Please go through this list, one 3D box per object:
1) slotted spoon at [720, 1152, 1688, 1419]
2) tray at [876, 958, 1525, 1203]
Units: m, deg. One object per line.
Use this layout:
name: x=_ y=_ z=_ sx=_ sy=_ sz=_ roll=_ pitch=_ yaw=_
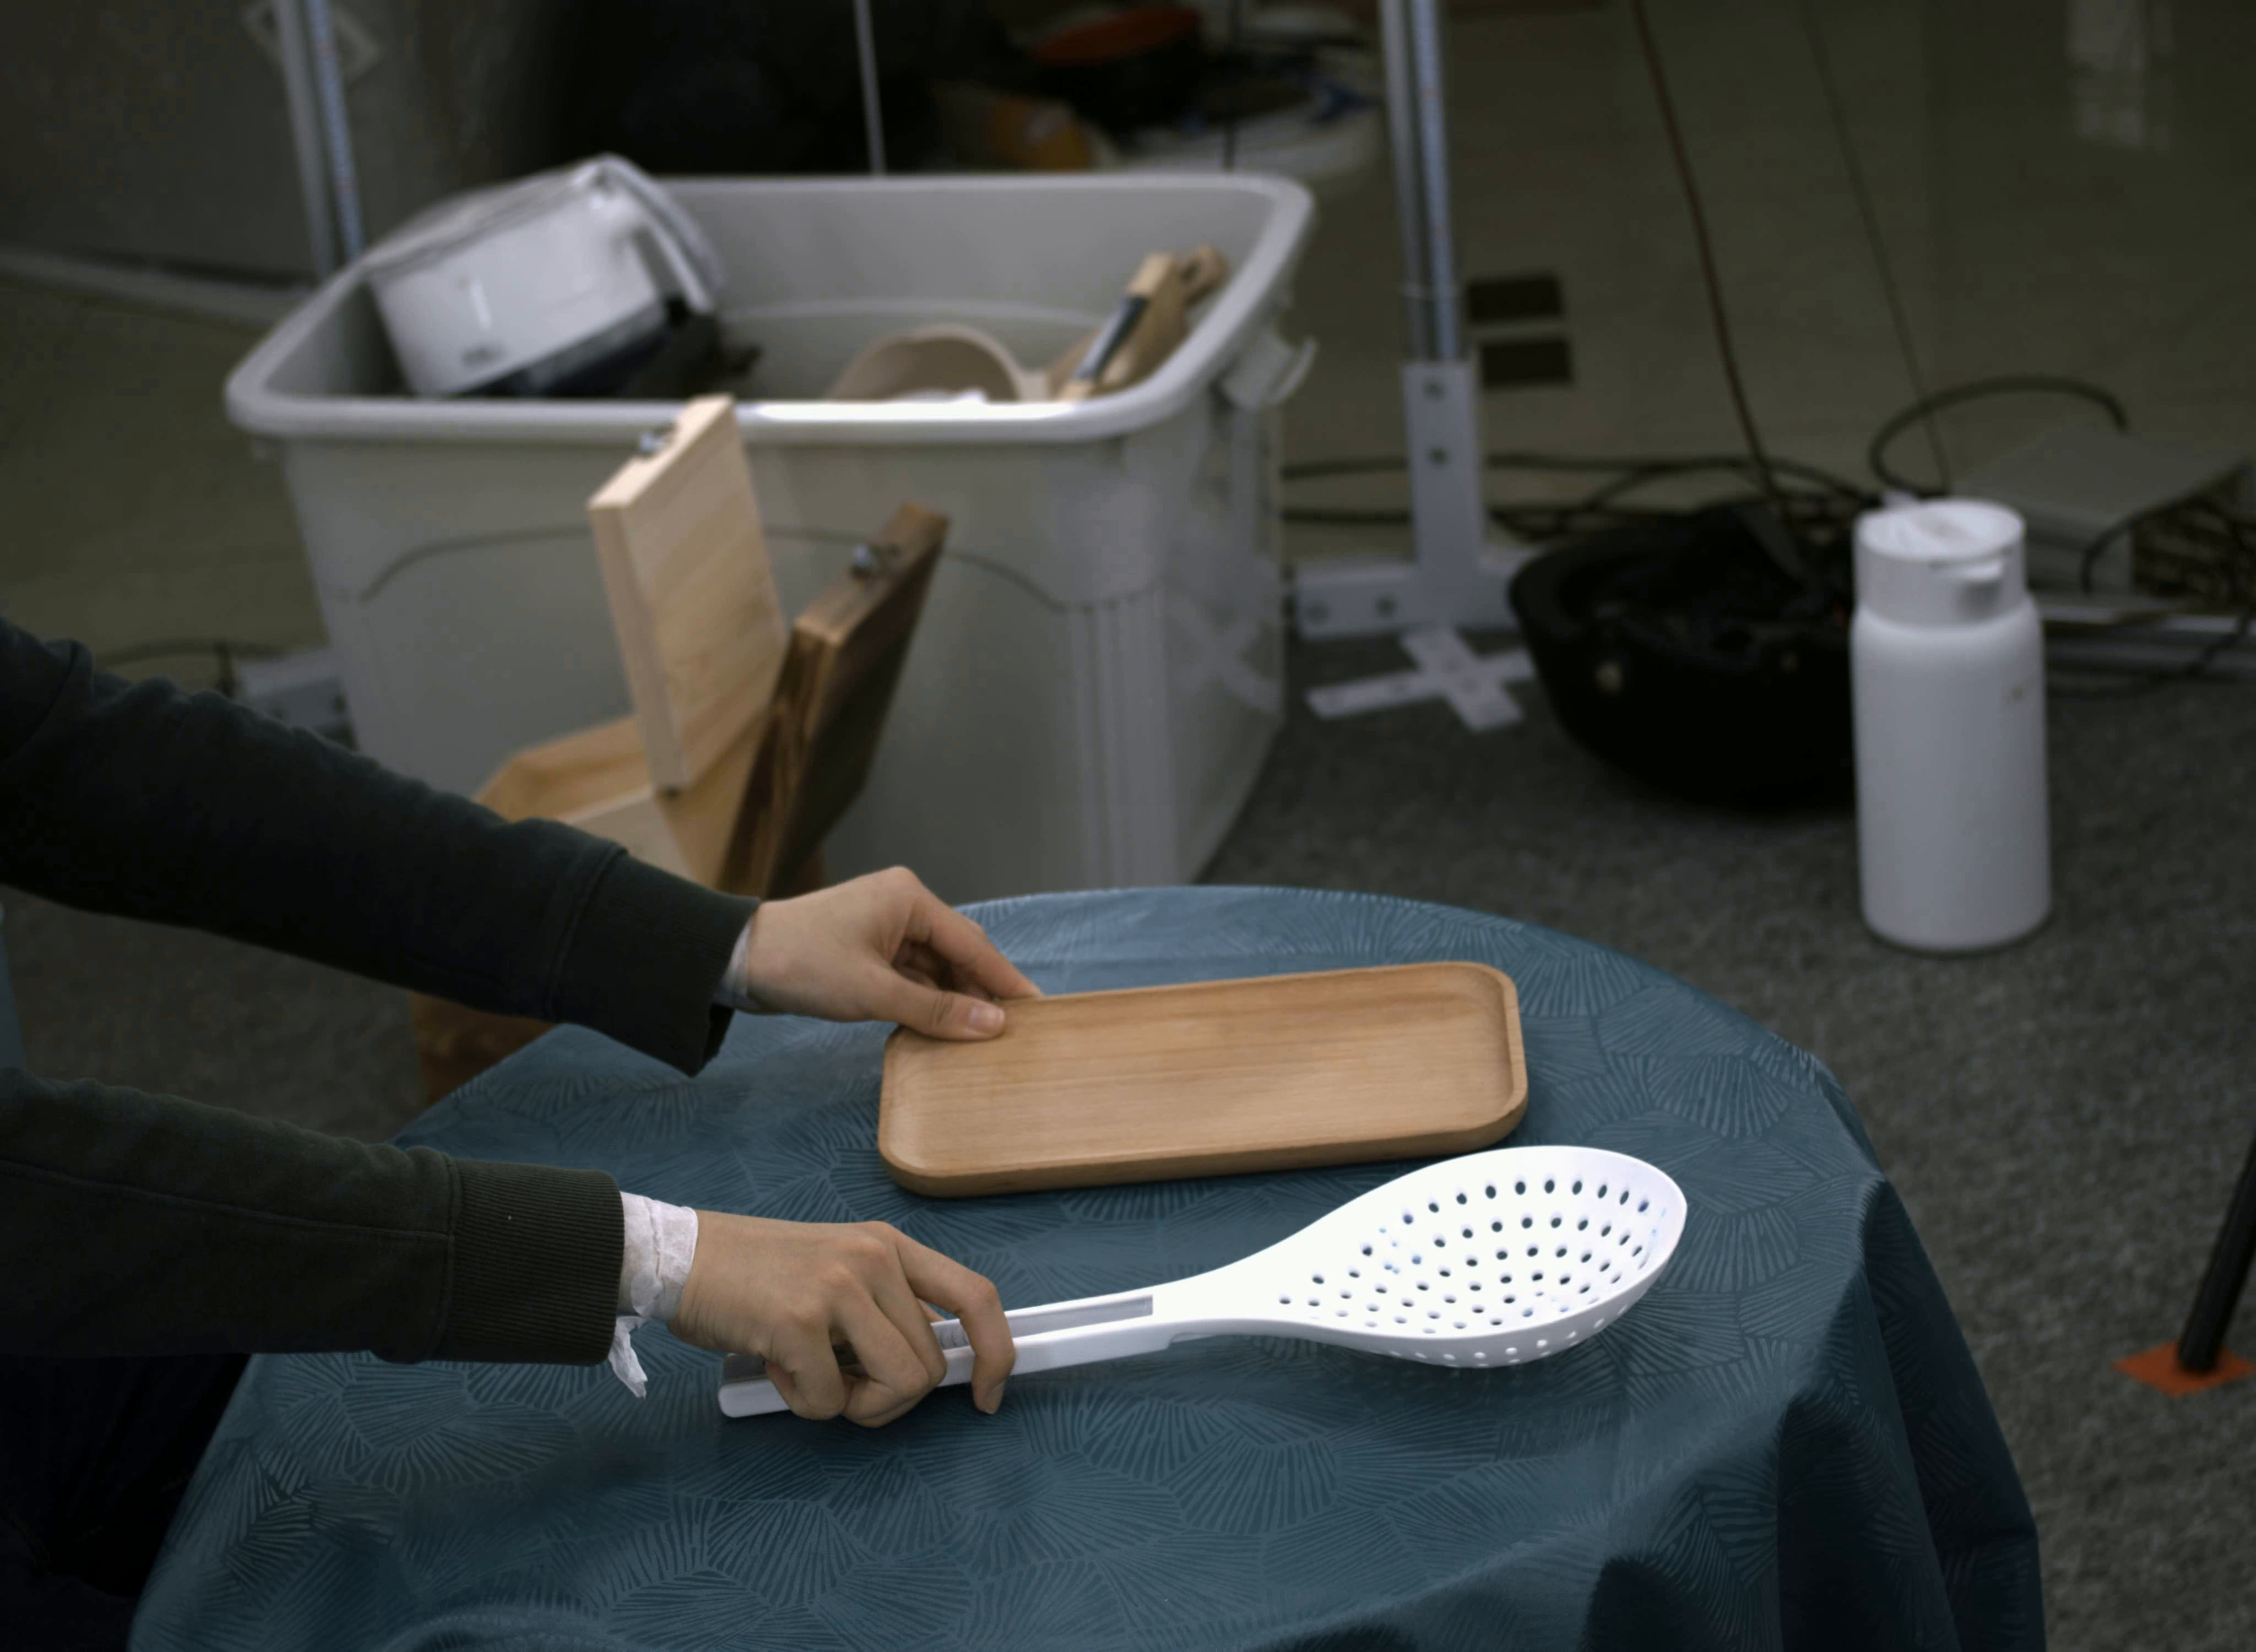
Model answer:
slotted spoon: x=0.026 y=0.172 z=2.021 sx=0.349 sy=0.046 sz=0.134 roll=-6 pitch=22 yaw=3
tray: x=0.028 y=0.099 z=2.202 sx=0.250 sy=0.023 sz=0.128 roll=-6 pitch=28 yaw=4
